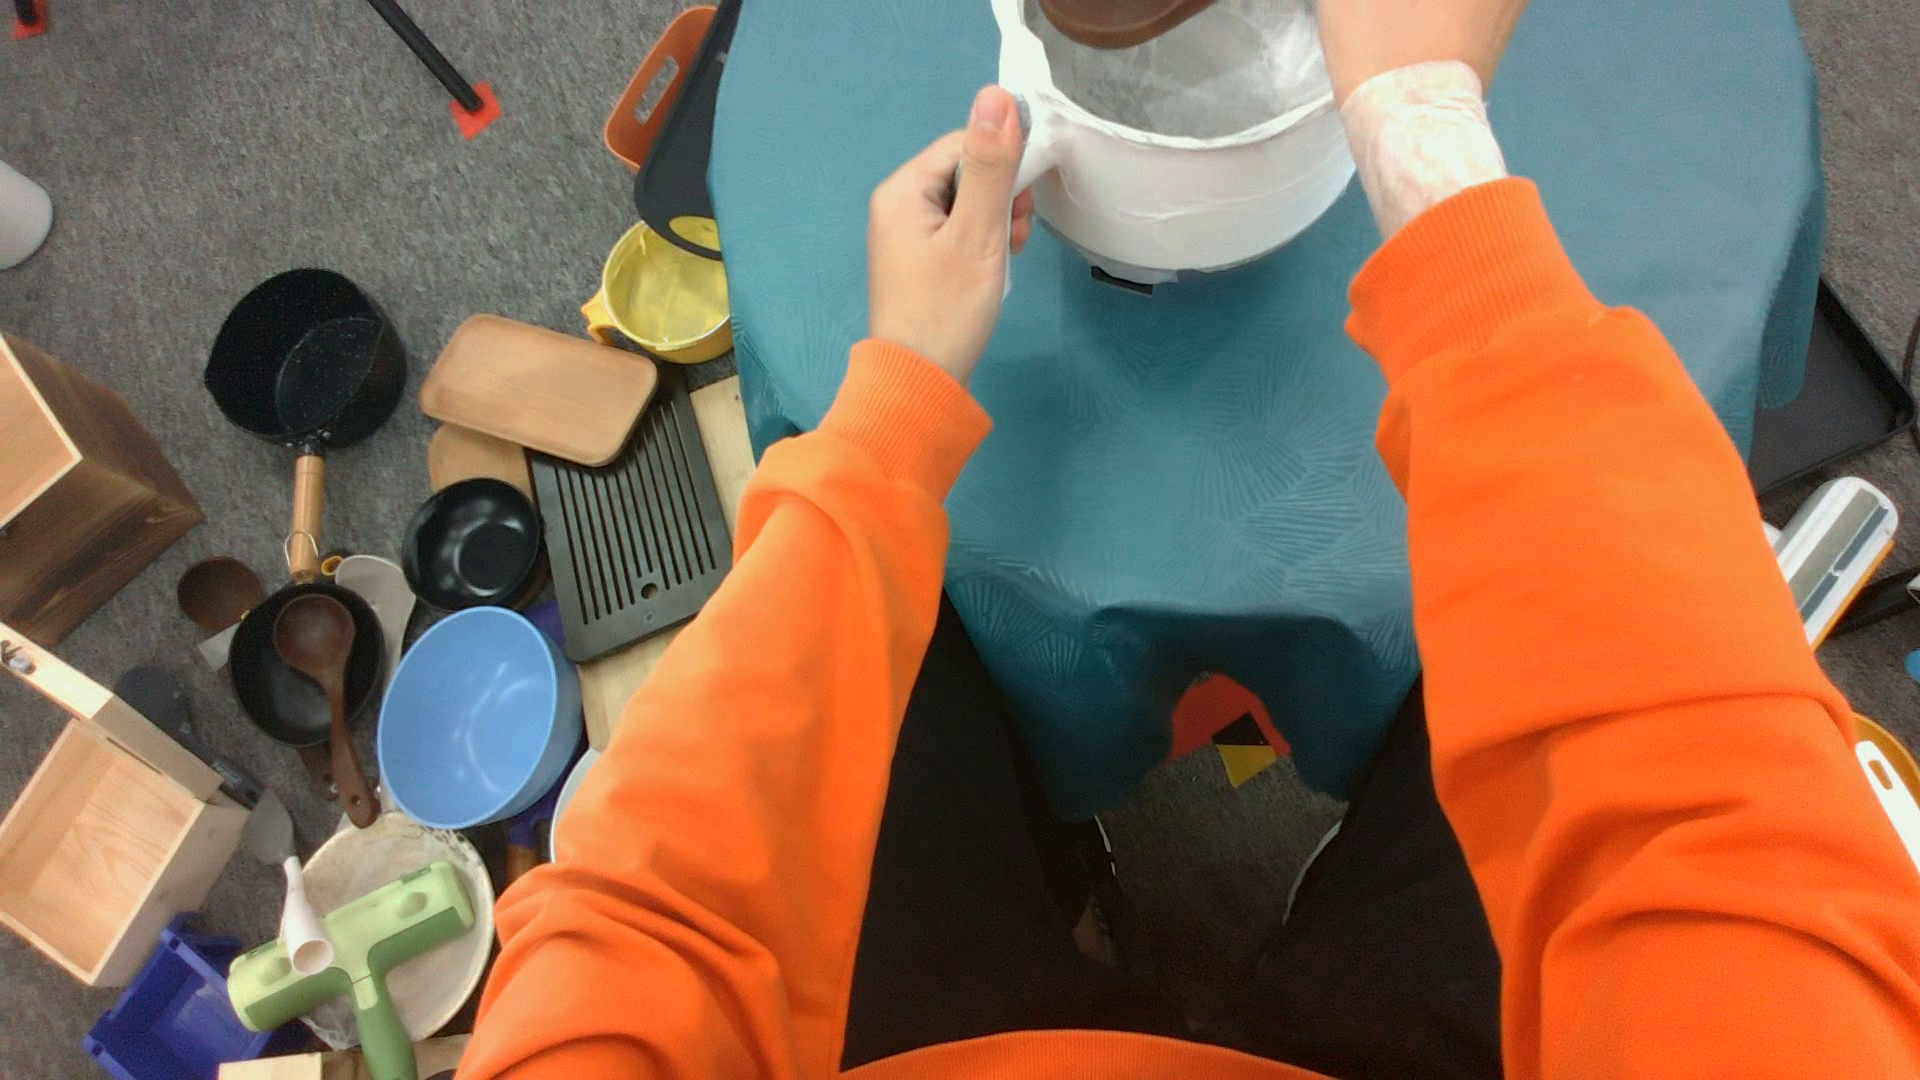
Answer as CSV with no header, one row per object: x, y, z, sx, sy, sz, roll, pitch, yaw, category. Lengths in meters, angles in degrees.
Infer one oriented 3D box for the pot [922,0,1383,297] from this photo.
0.077,-0.211,0.639,0.234,0.136,0.179,-42,73,-10,pot

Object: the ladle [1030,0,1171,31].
0.125,-0.267,0.528,0.259,0.065,0.077,-11,63,49,ladle
